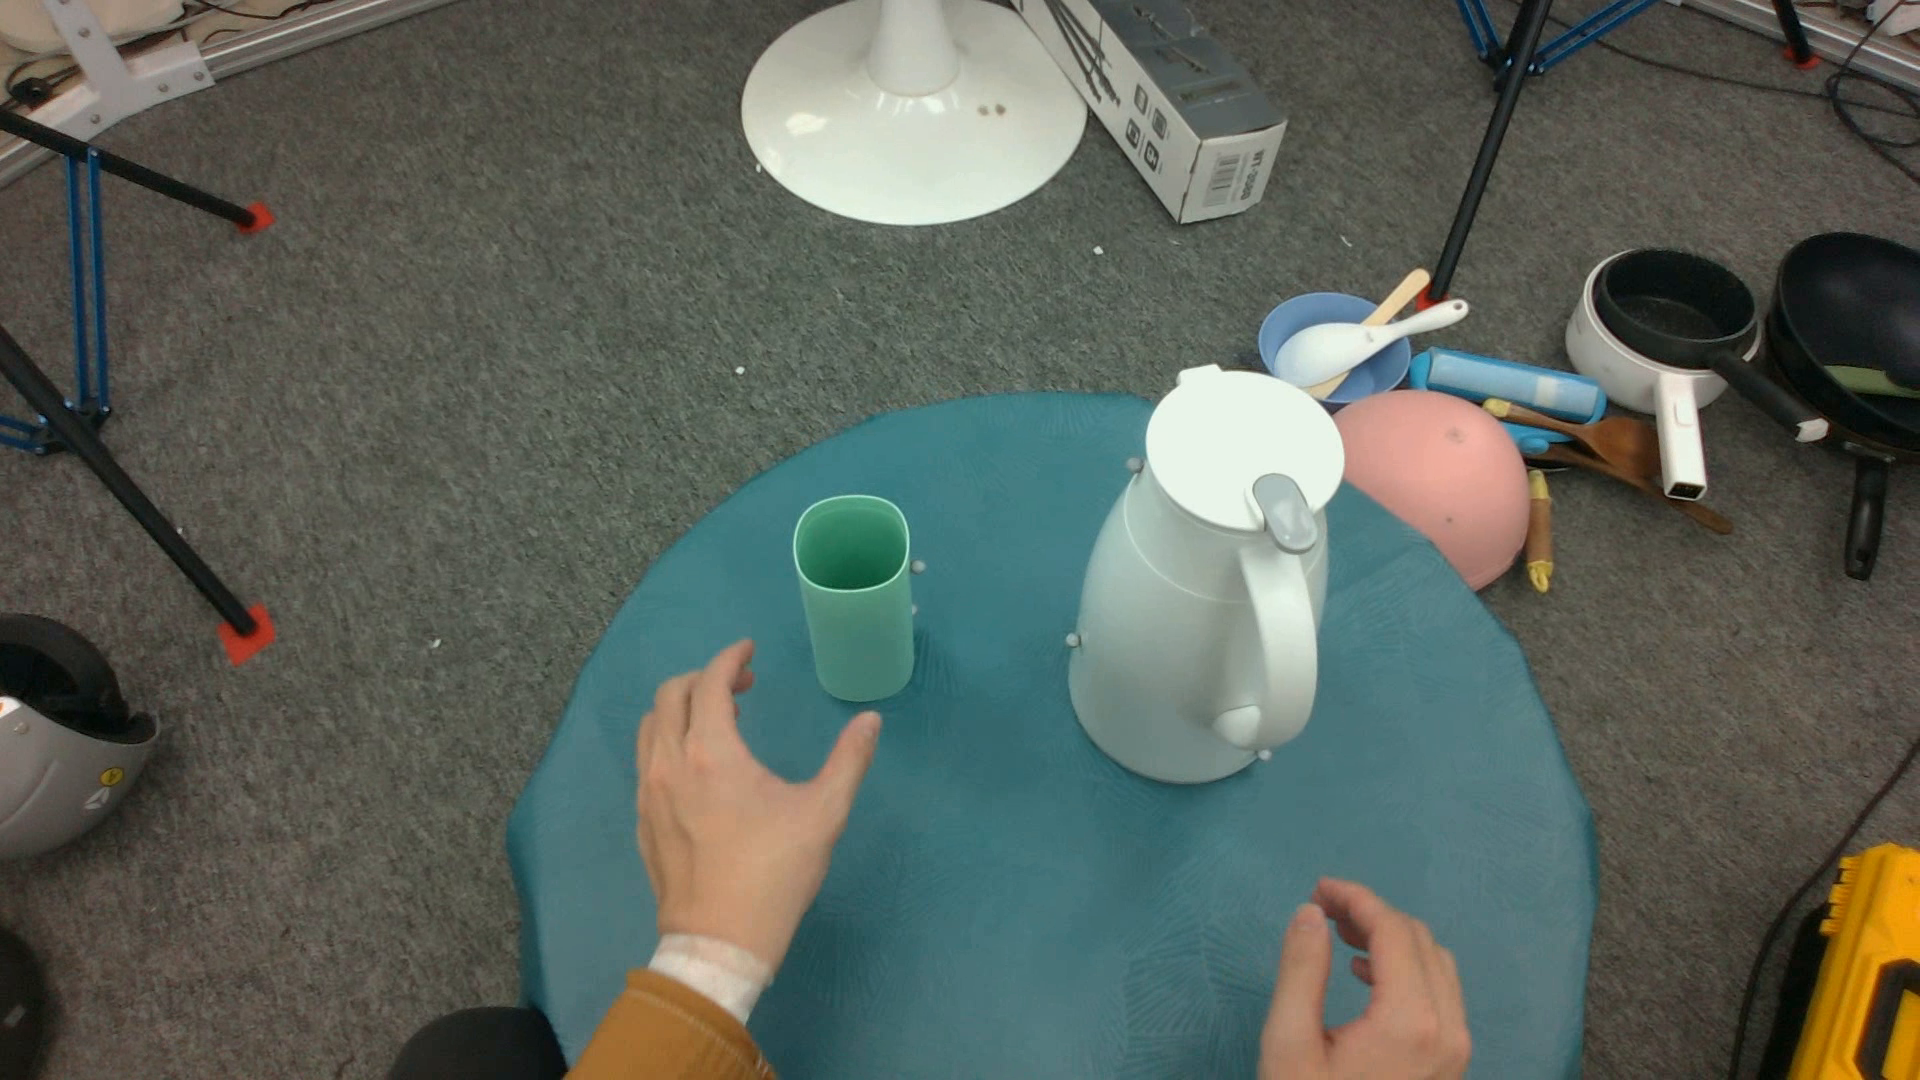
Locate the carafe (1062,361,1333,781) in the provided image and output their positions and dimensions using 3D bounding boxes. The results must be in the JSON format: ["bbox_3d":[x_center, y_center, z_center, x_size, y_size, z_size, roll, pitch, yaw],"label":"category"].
[{"bbox_3d":[0.134,0.034,0.724,0.132,0.247,0.168,-13,58,-9],"label":"carafe"}]

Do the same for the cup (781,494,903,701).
[{"bbox_3d":[-0.065,0.037,0.792,0.067,0.132,0.067,0,56,0],"label":"cup"}]
